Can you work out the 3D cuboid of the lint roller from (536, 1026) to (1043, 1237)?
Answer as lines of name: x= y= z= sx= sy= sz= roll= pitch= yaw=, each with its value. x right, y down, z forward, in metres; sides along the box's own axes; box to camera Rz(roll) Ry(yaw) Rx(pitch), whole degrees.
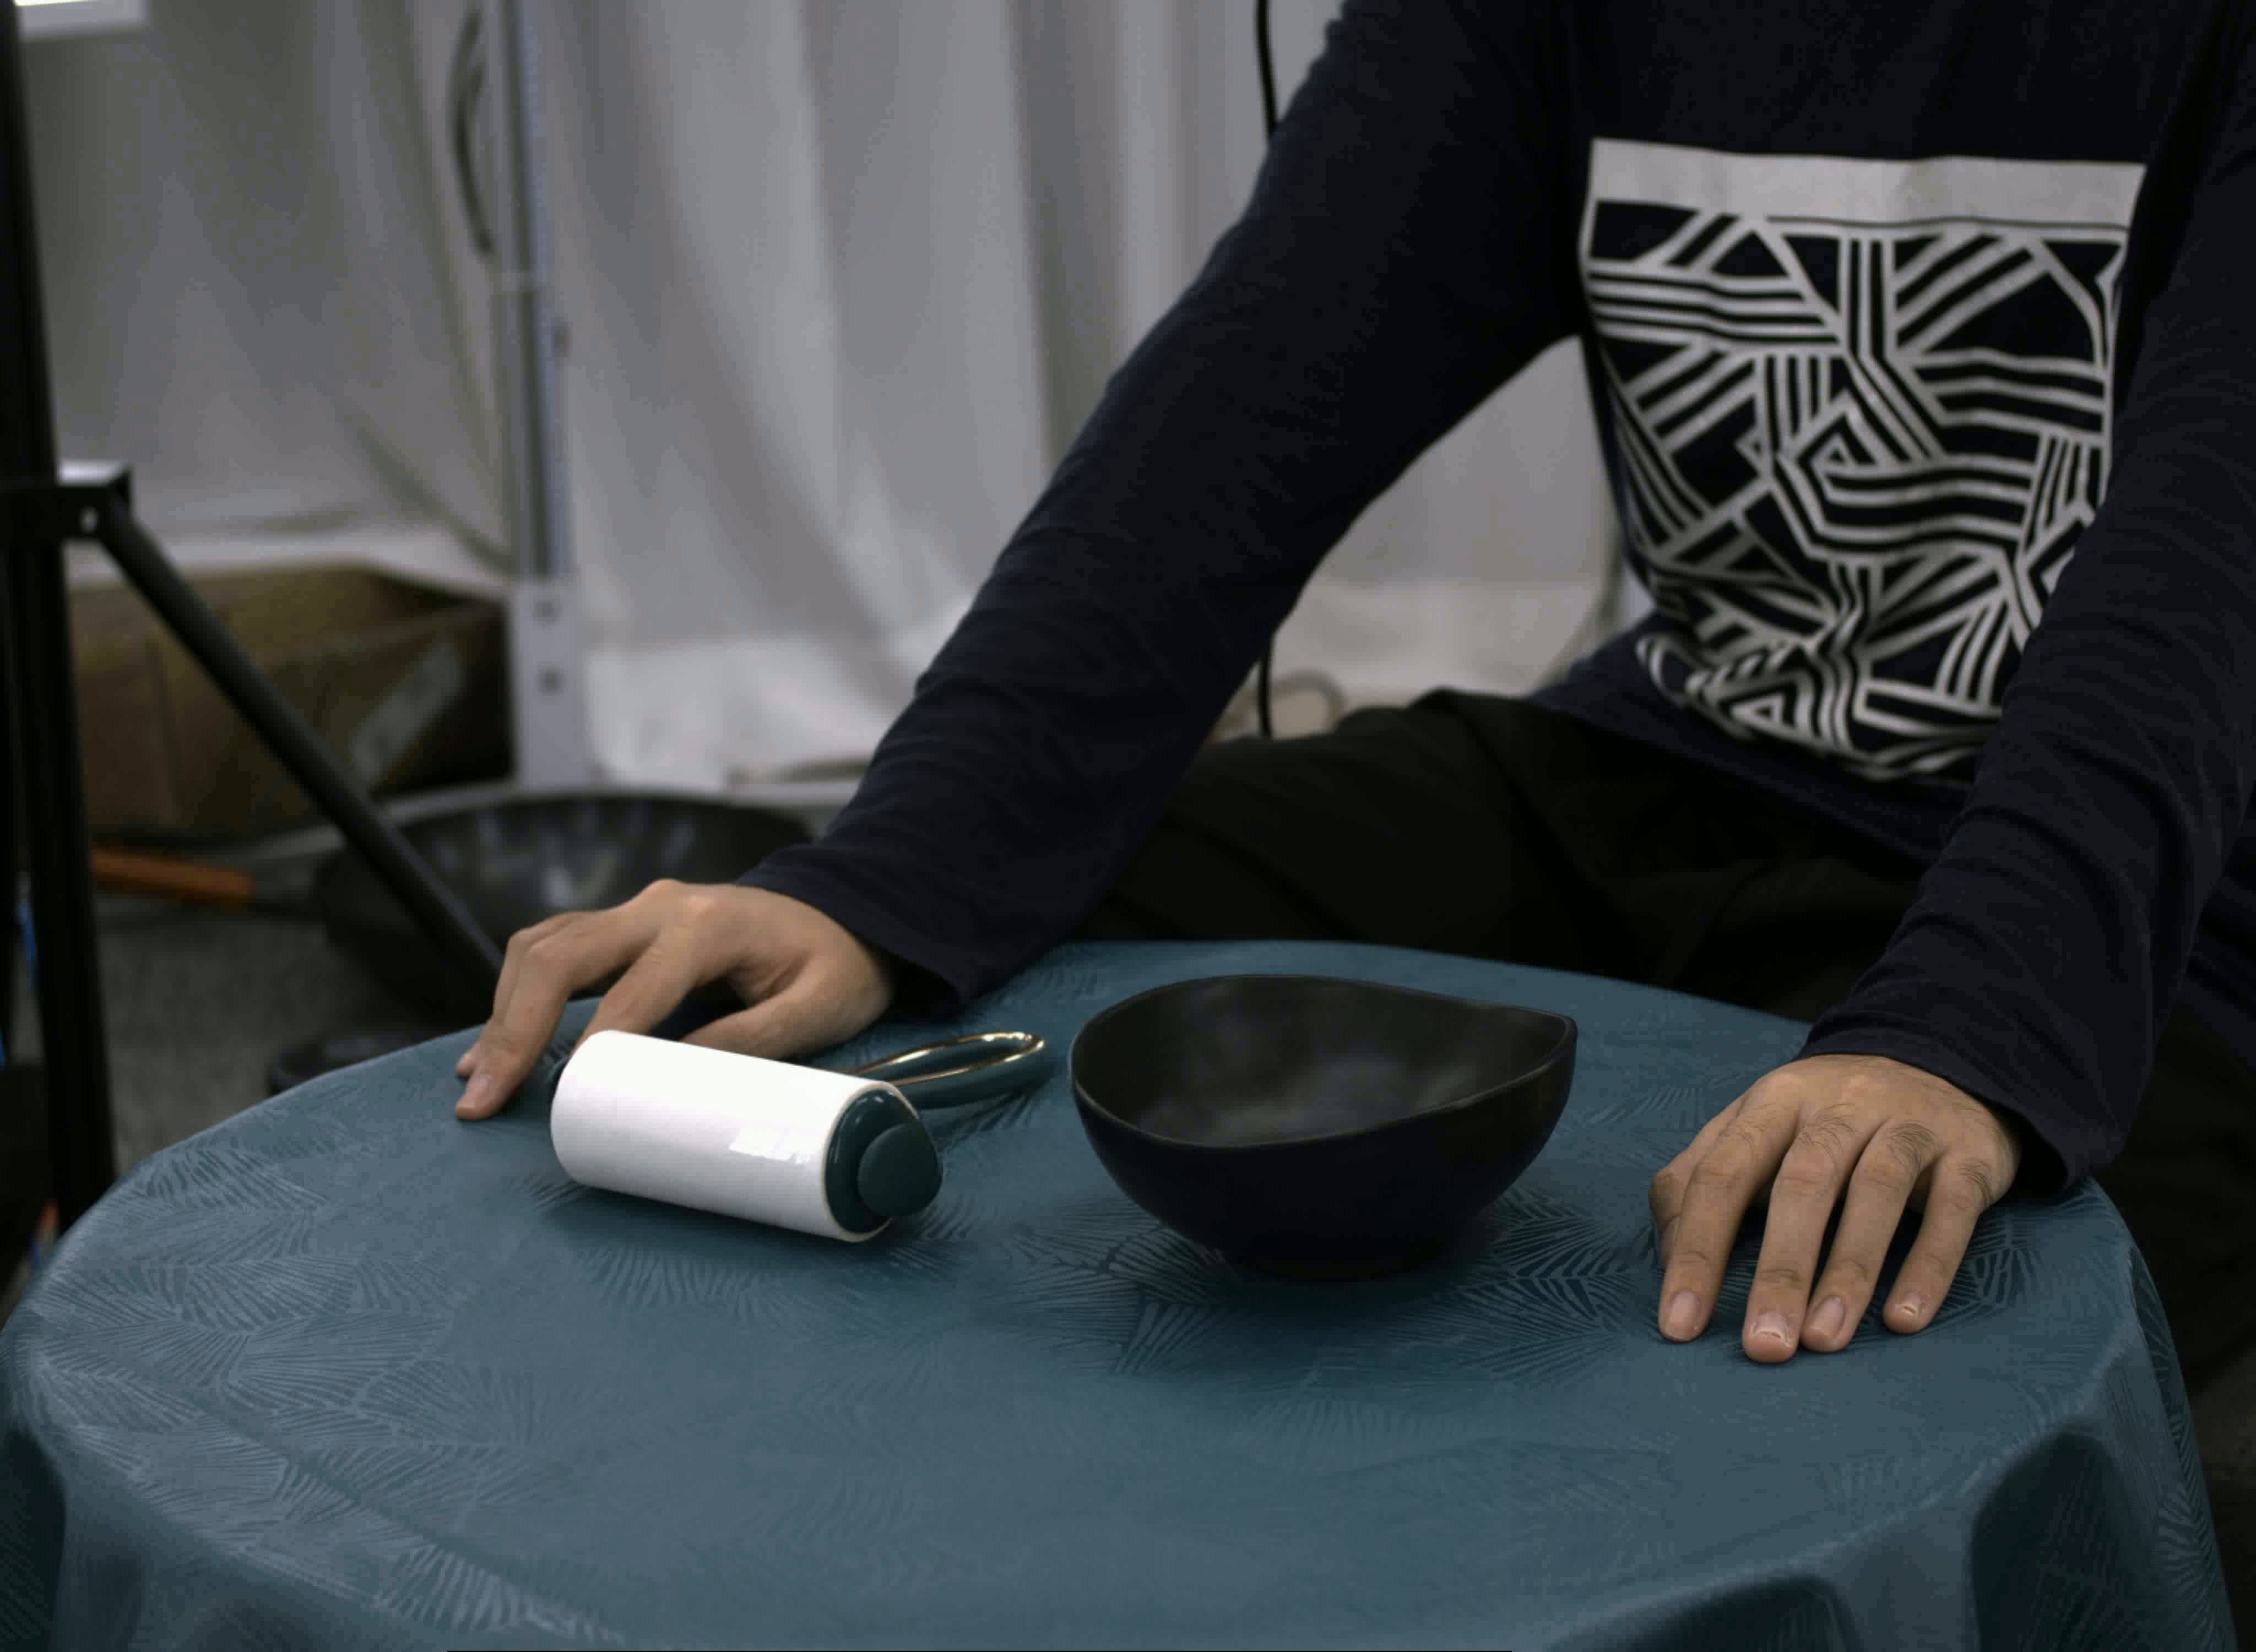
lint roller: x=-0.080 y=0.077 z=1.611 sx=0.137 sy=0.048 sz=0.176 roll=8 pitch=16 yaw=33

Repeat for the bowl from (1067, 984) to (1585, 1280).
bowl: x=0.057 y=0.089 z=1.504 sx=0.140 sy=0.067 sz=0.167 roll=8 pitch=17 yaw=33
